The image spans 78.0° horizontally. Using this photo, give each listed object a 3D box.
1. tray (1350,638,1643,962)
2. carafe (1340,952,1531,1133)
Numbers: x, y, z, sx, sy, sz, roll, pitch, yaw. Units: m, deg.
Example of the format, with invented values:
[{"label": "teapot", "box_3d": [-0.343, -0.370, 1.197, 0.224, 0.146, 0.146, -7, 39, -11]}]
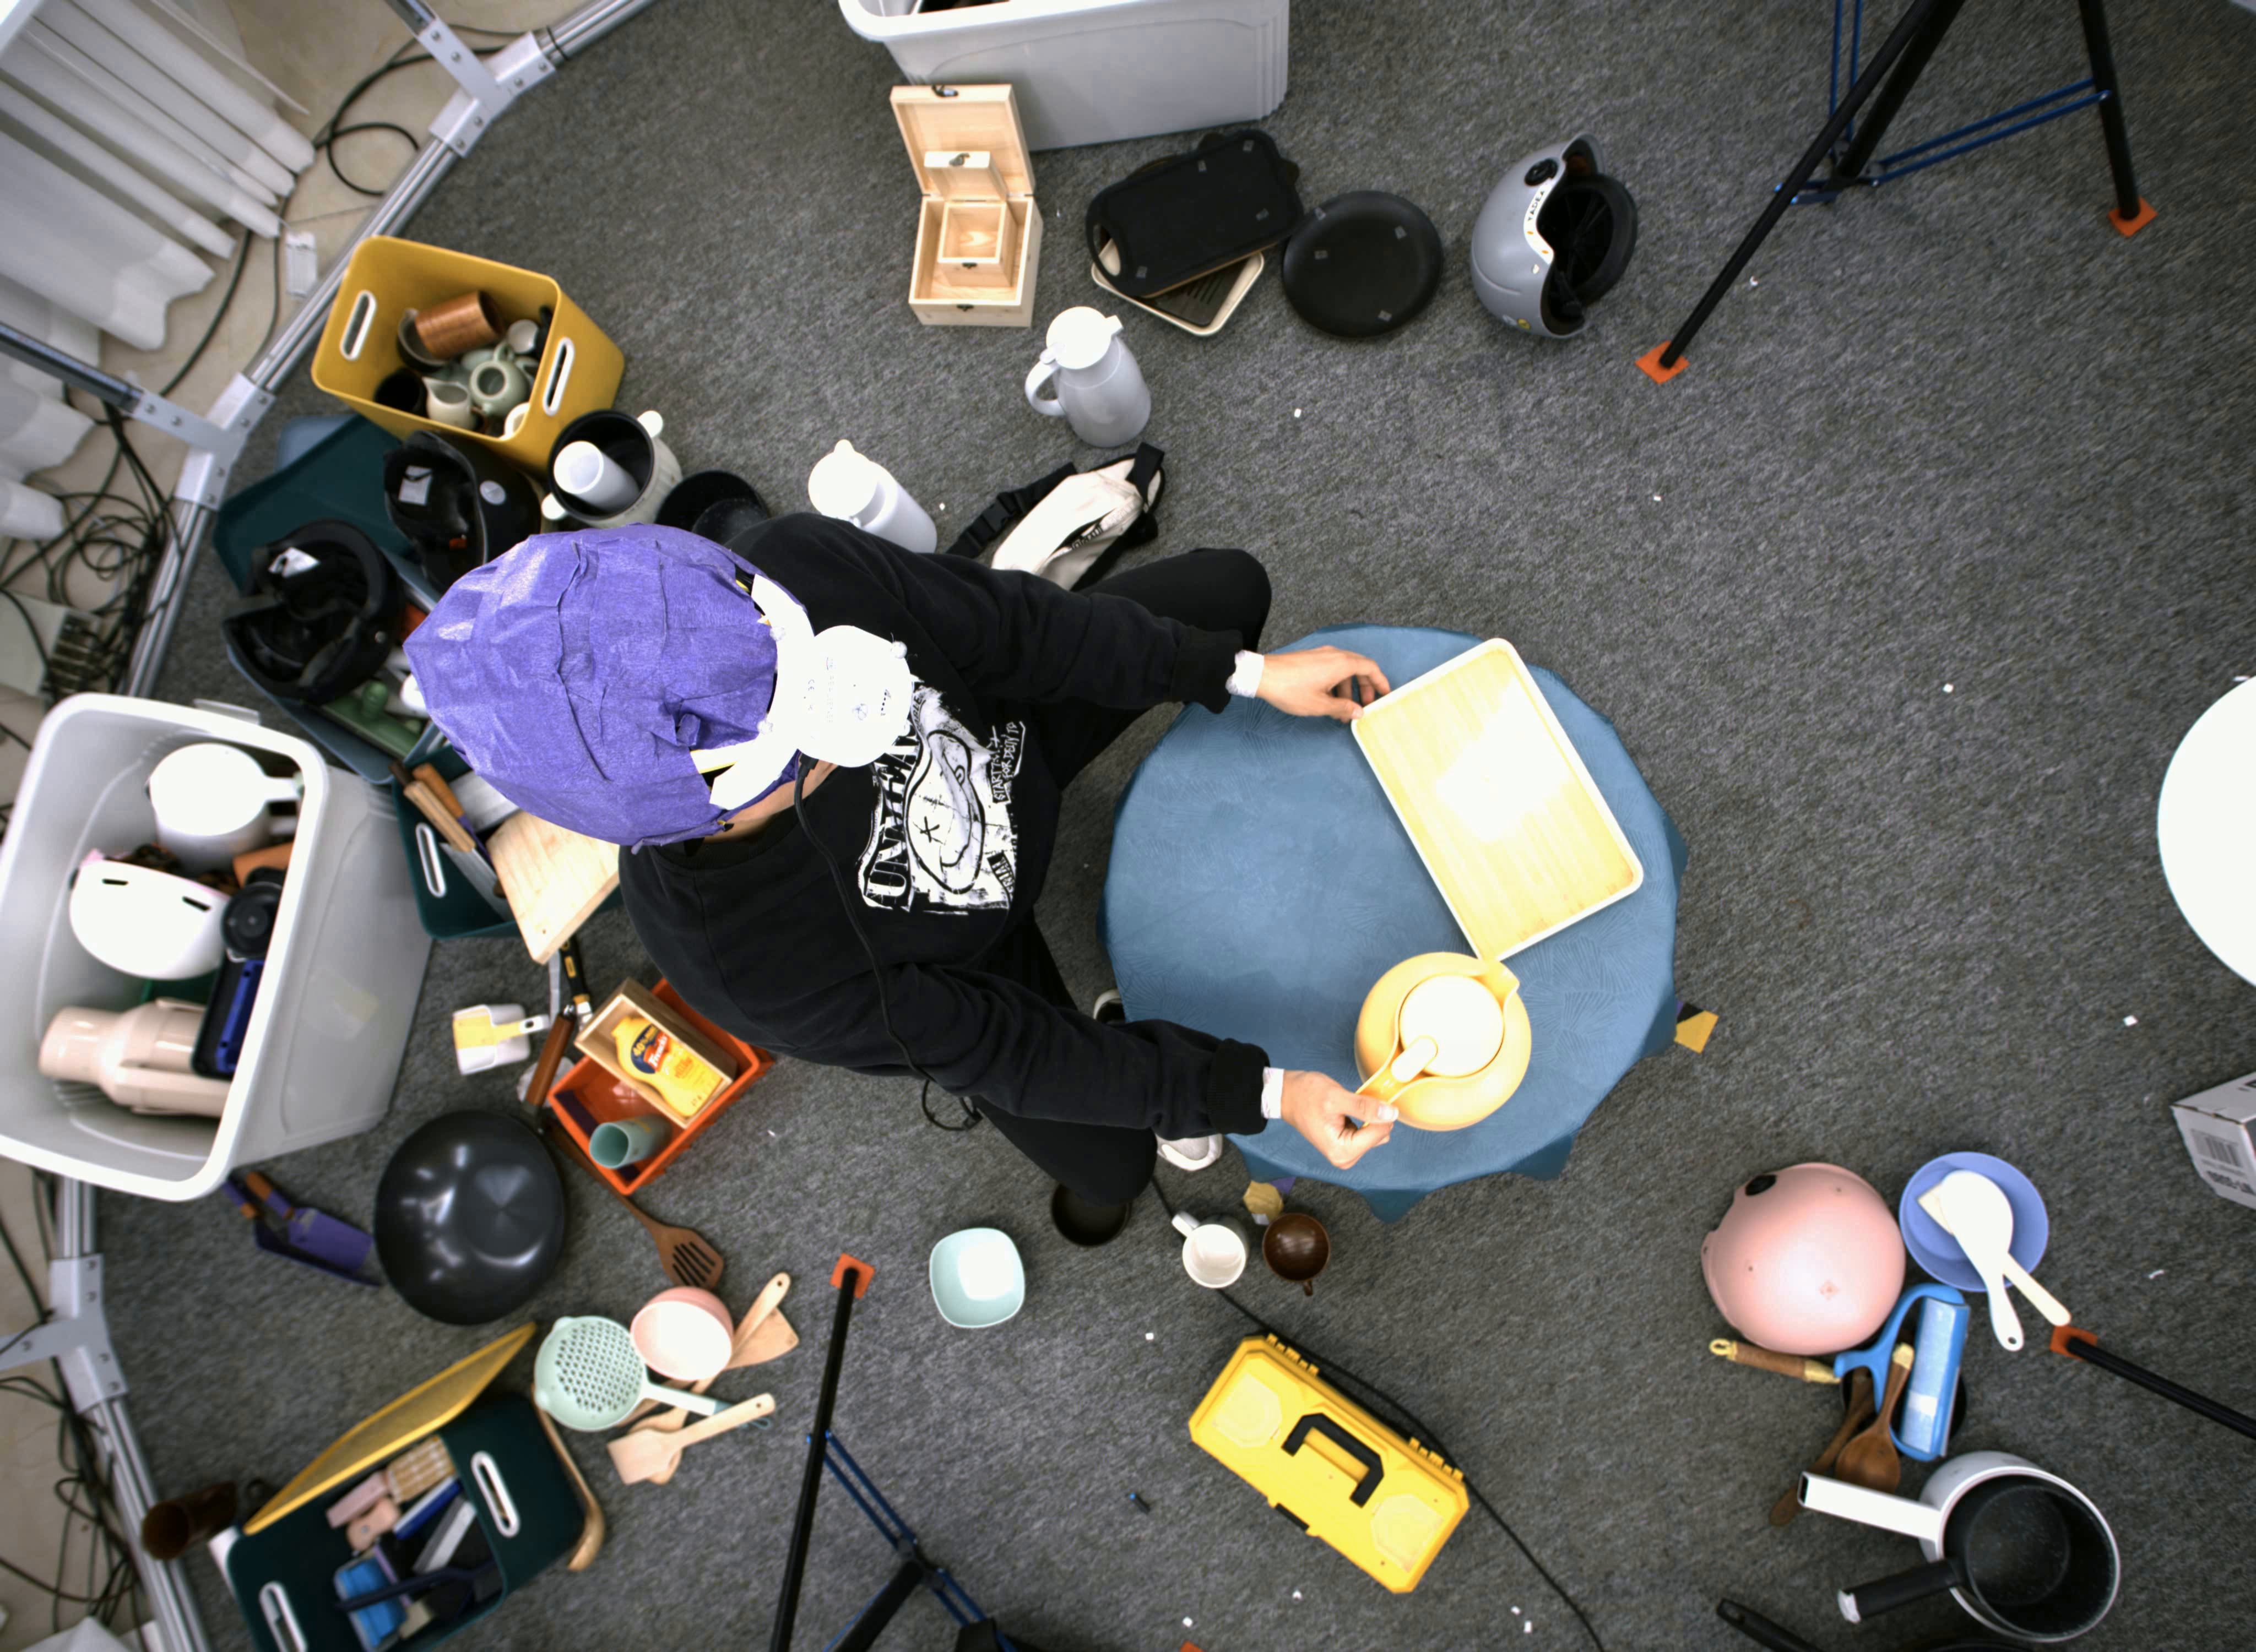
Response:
[{"label": "tray", "box_3d": [0.381, -0.029, 1.431, 0.193, 0.027, 0.298, -28, 82, 8]}, {"label": "carafe", "box_3d": [0.282, 0.211, 1.307, 0.202, 0.263, 0.162, -40, 71, -3]}]
